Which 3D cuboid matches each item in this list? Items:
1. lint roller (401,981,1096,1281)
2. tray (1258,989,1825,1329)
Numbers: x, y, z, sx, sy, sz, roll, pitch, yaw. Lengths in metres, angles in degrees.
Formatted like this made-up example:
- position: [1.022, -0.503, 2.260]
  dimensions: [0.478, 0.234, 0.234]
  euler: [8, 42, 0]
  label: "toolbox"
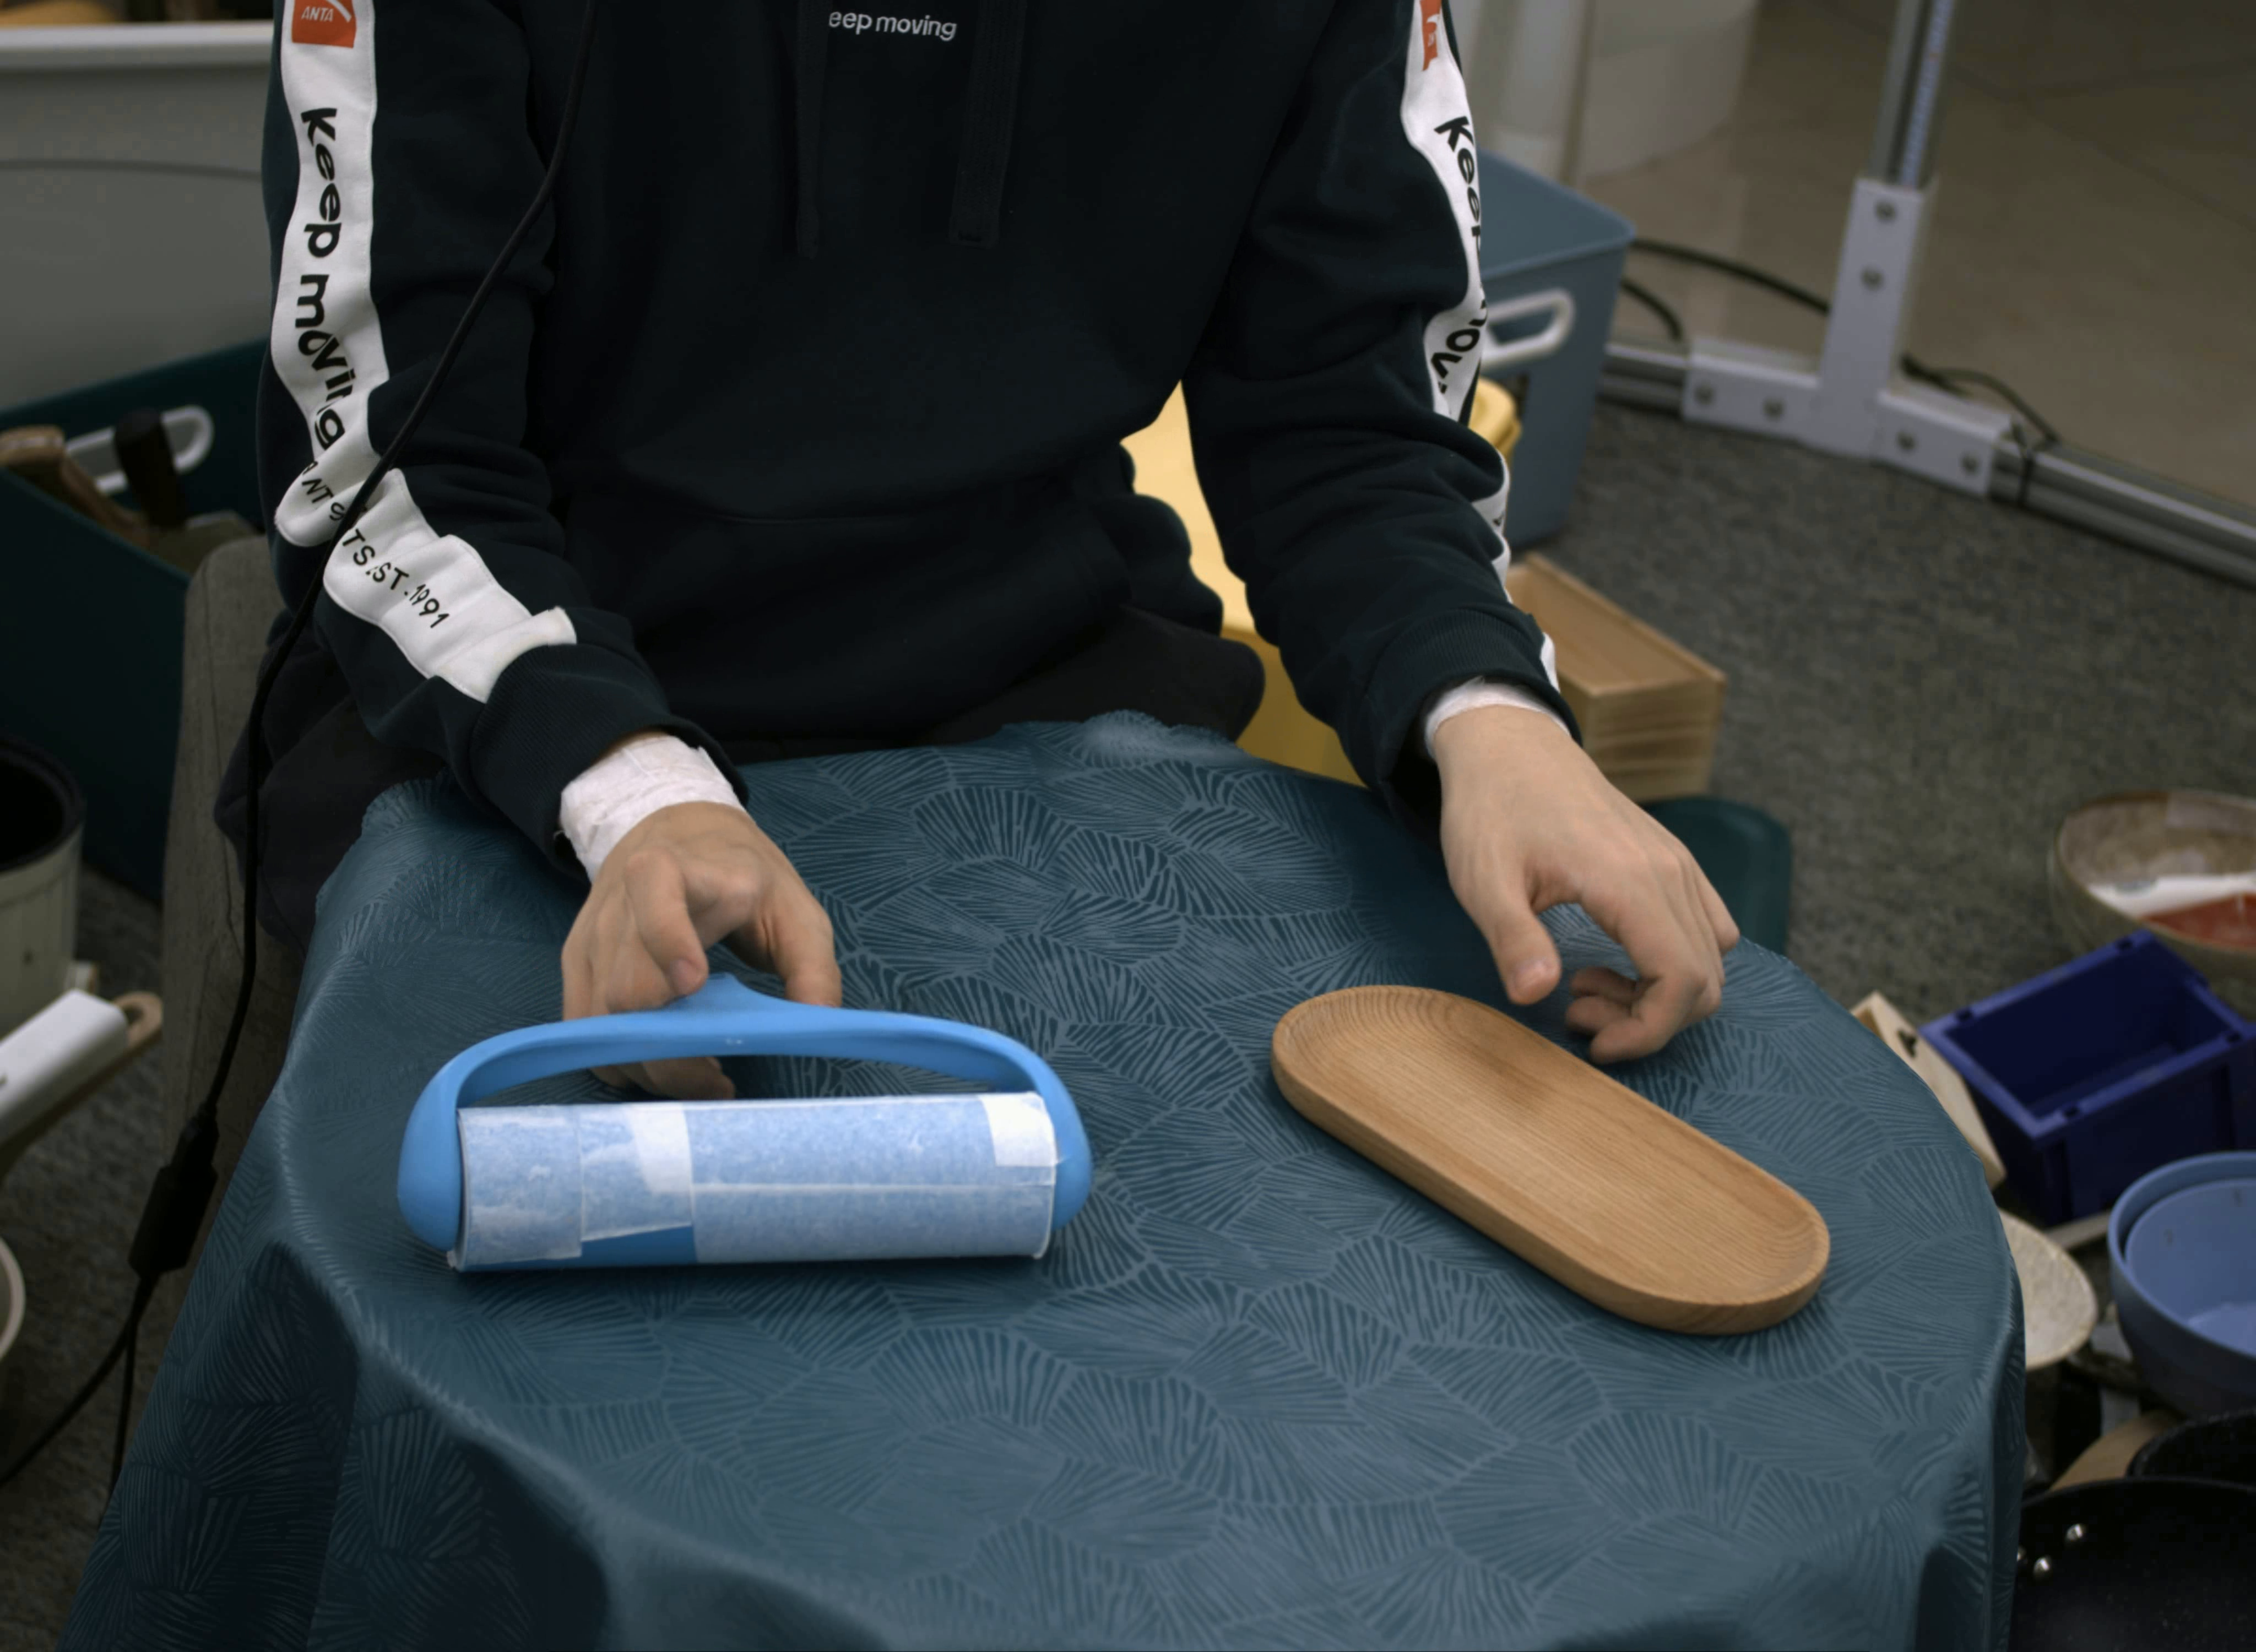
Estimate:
- position: [-0.138, 0.087, 1.776]
  dimensions: [0.227, 0.067, 0.182]
  euler: [-4, 30, -15]
  label: "lint roller"
- position: [0.140, 0.113, 1.833]
  dimensions: [0.101, 0.020, 0.233]
  euler: [-17, 33, -40]
  label: "tray"
